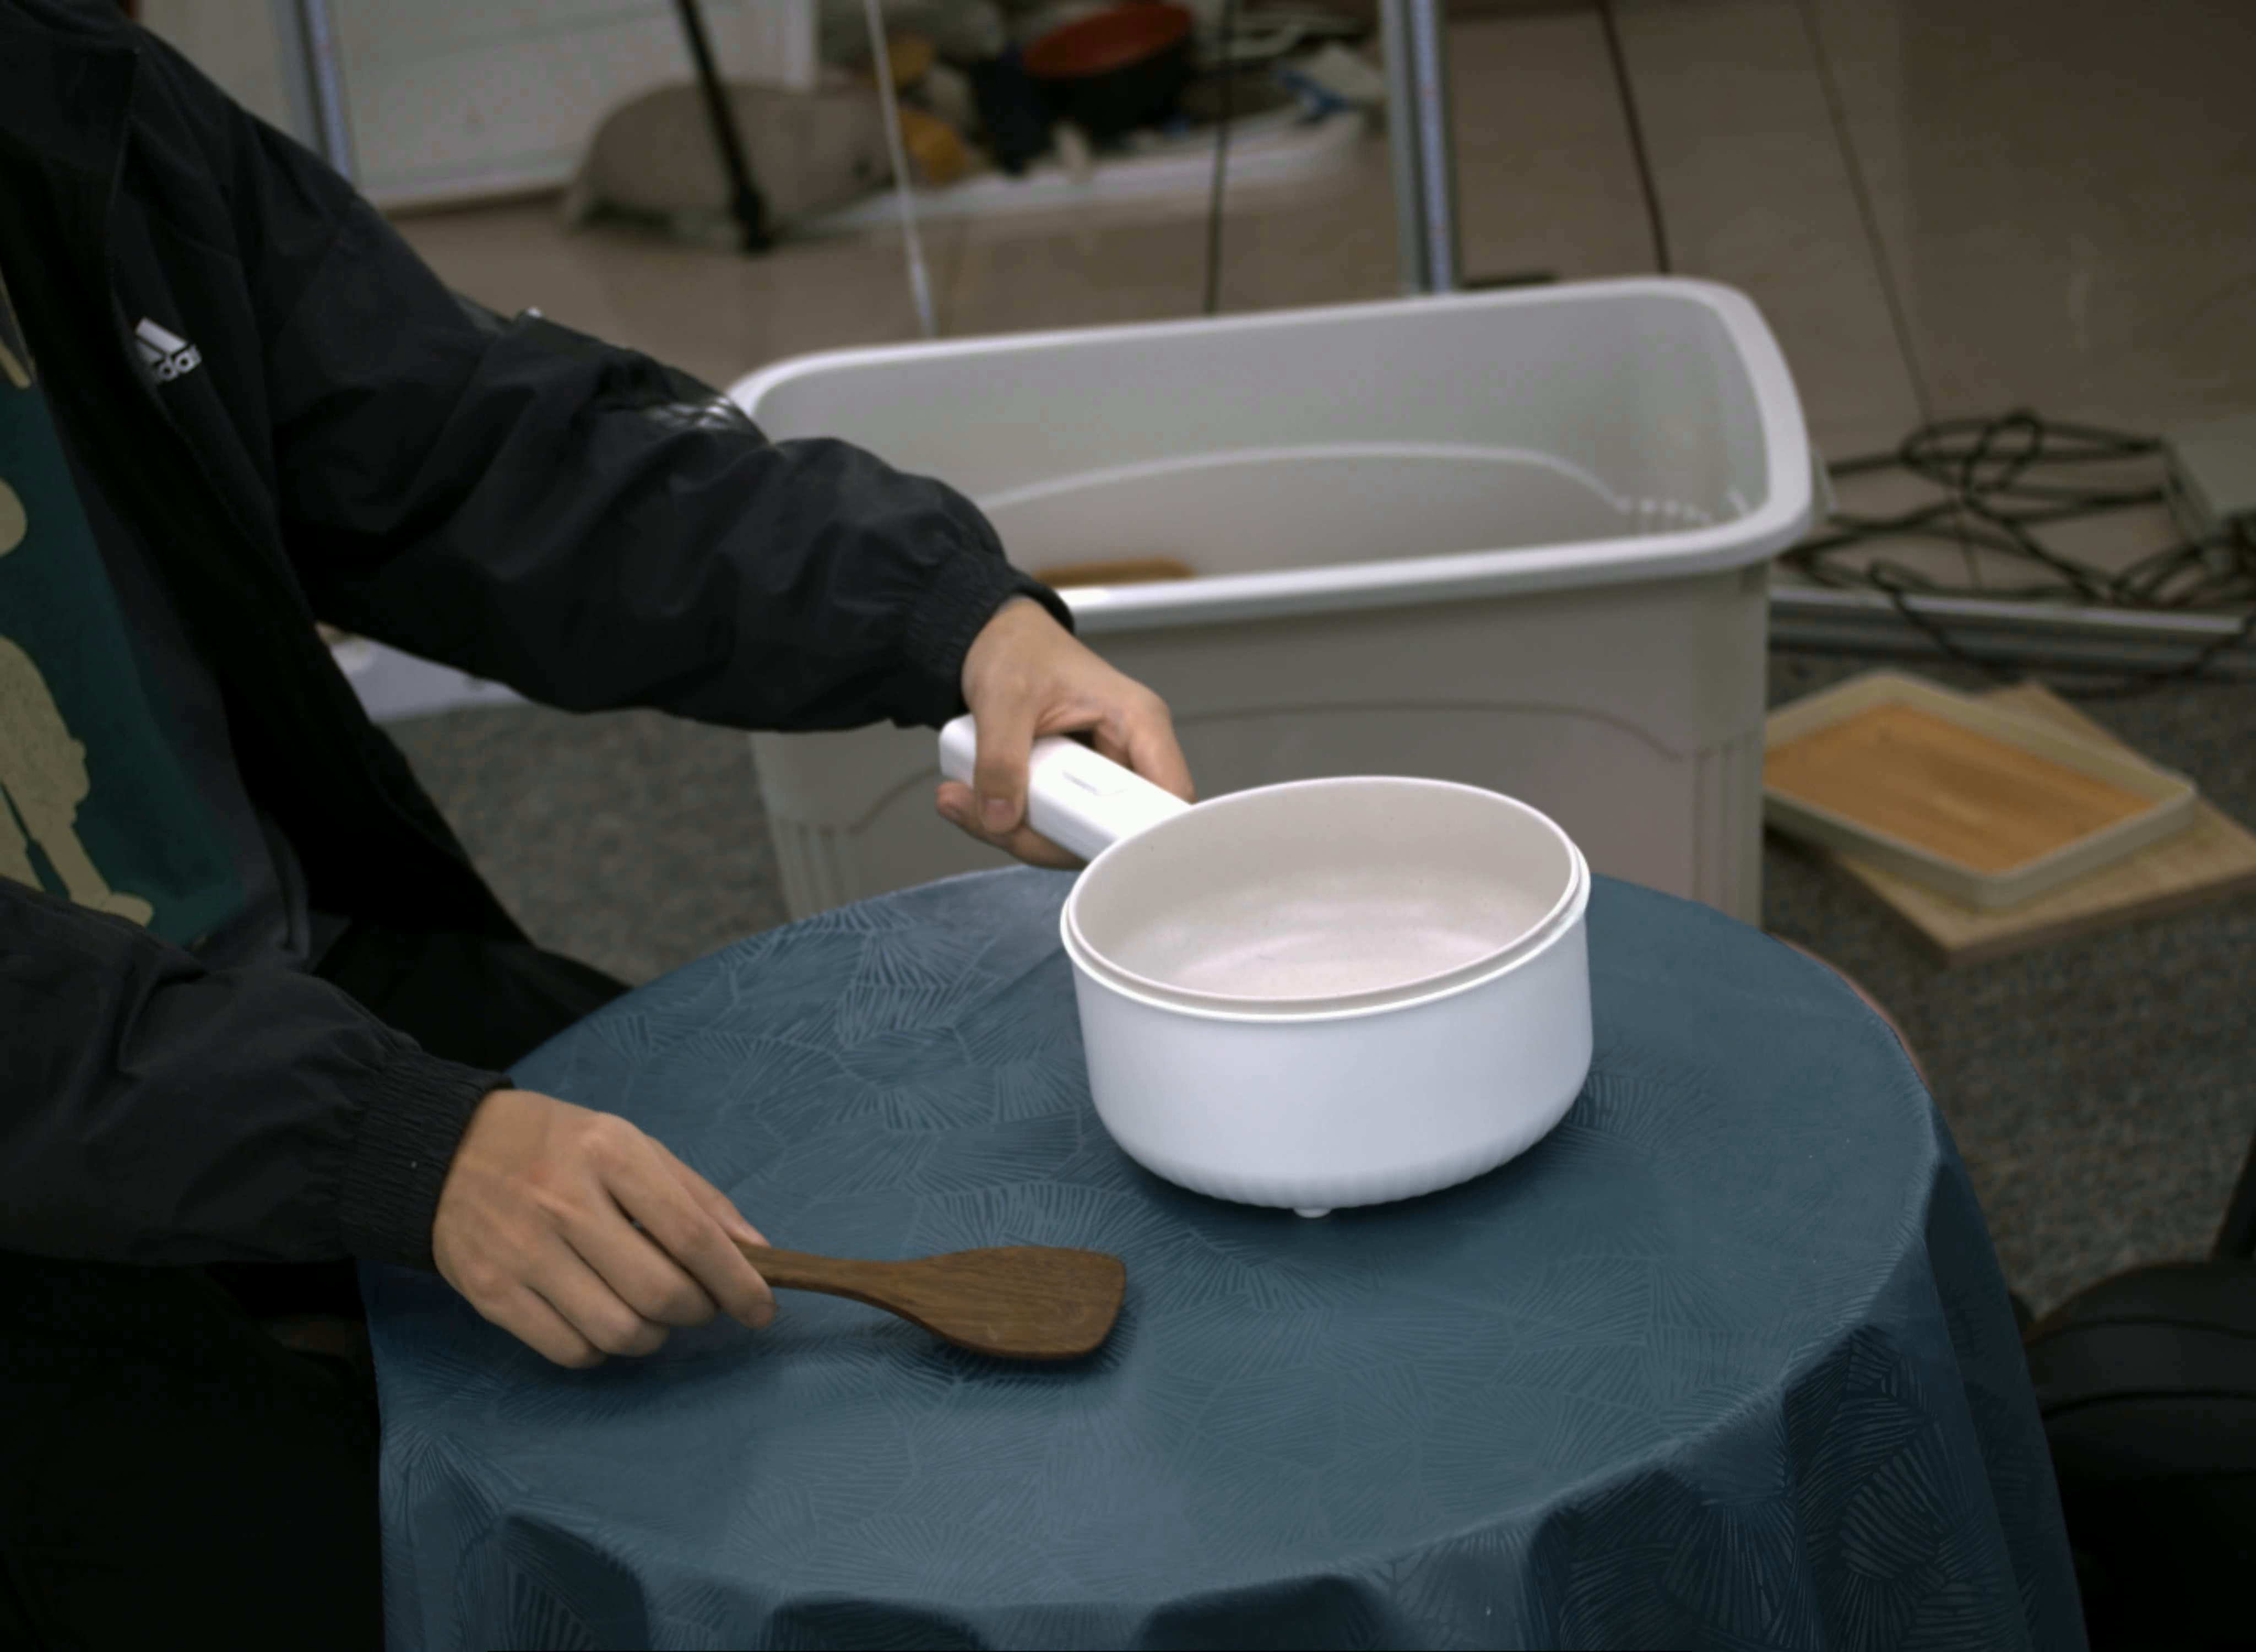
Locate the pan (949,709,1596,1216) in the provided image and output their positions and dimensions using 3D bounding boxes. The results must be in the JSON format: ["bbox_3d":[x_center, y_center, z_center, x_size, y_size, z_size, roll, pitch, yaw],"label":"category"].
[{"bbox_3d":[0.038,0.047,2.221,0.200,0.103,0.351,-21,27,-27],"label":"pan"}]

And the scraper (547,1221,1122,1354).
[{"bbox_3d":[-0.108,0.163,2.064,0.211,0.011,0.075,6,26,8],"label":"scraper"}]
